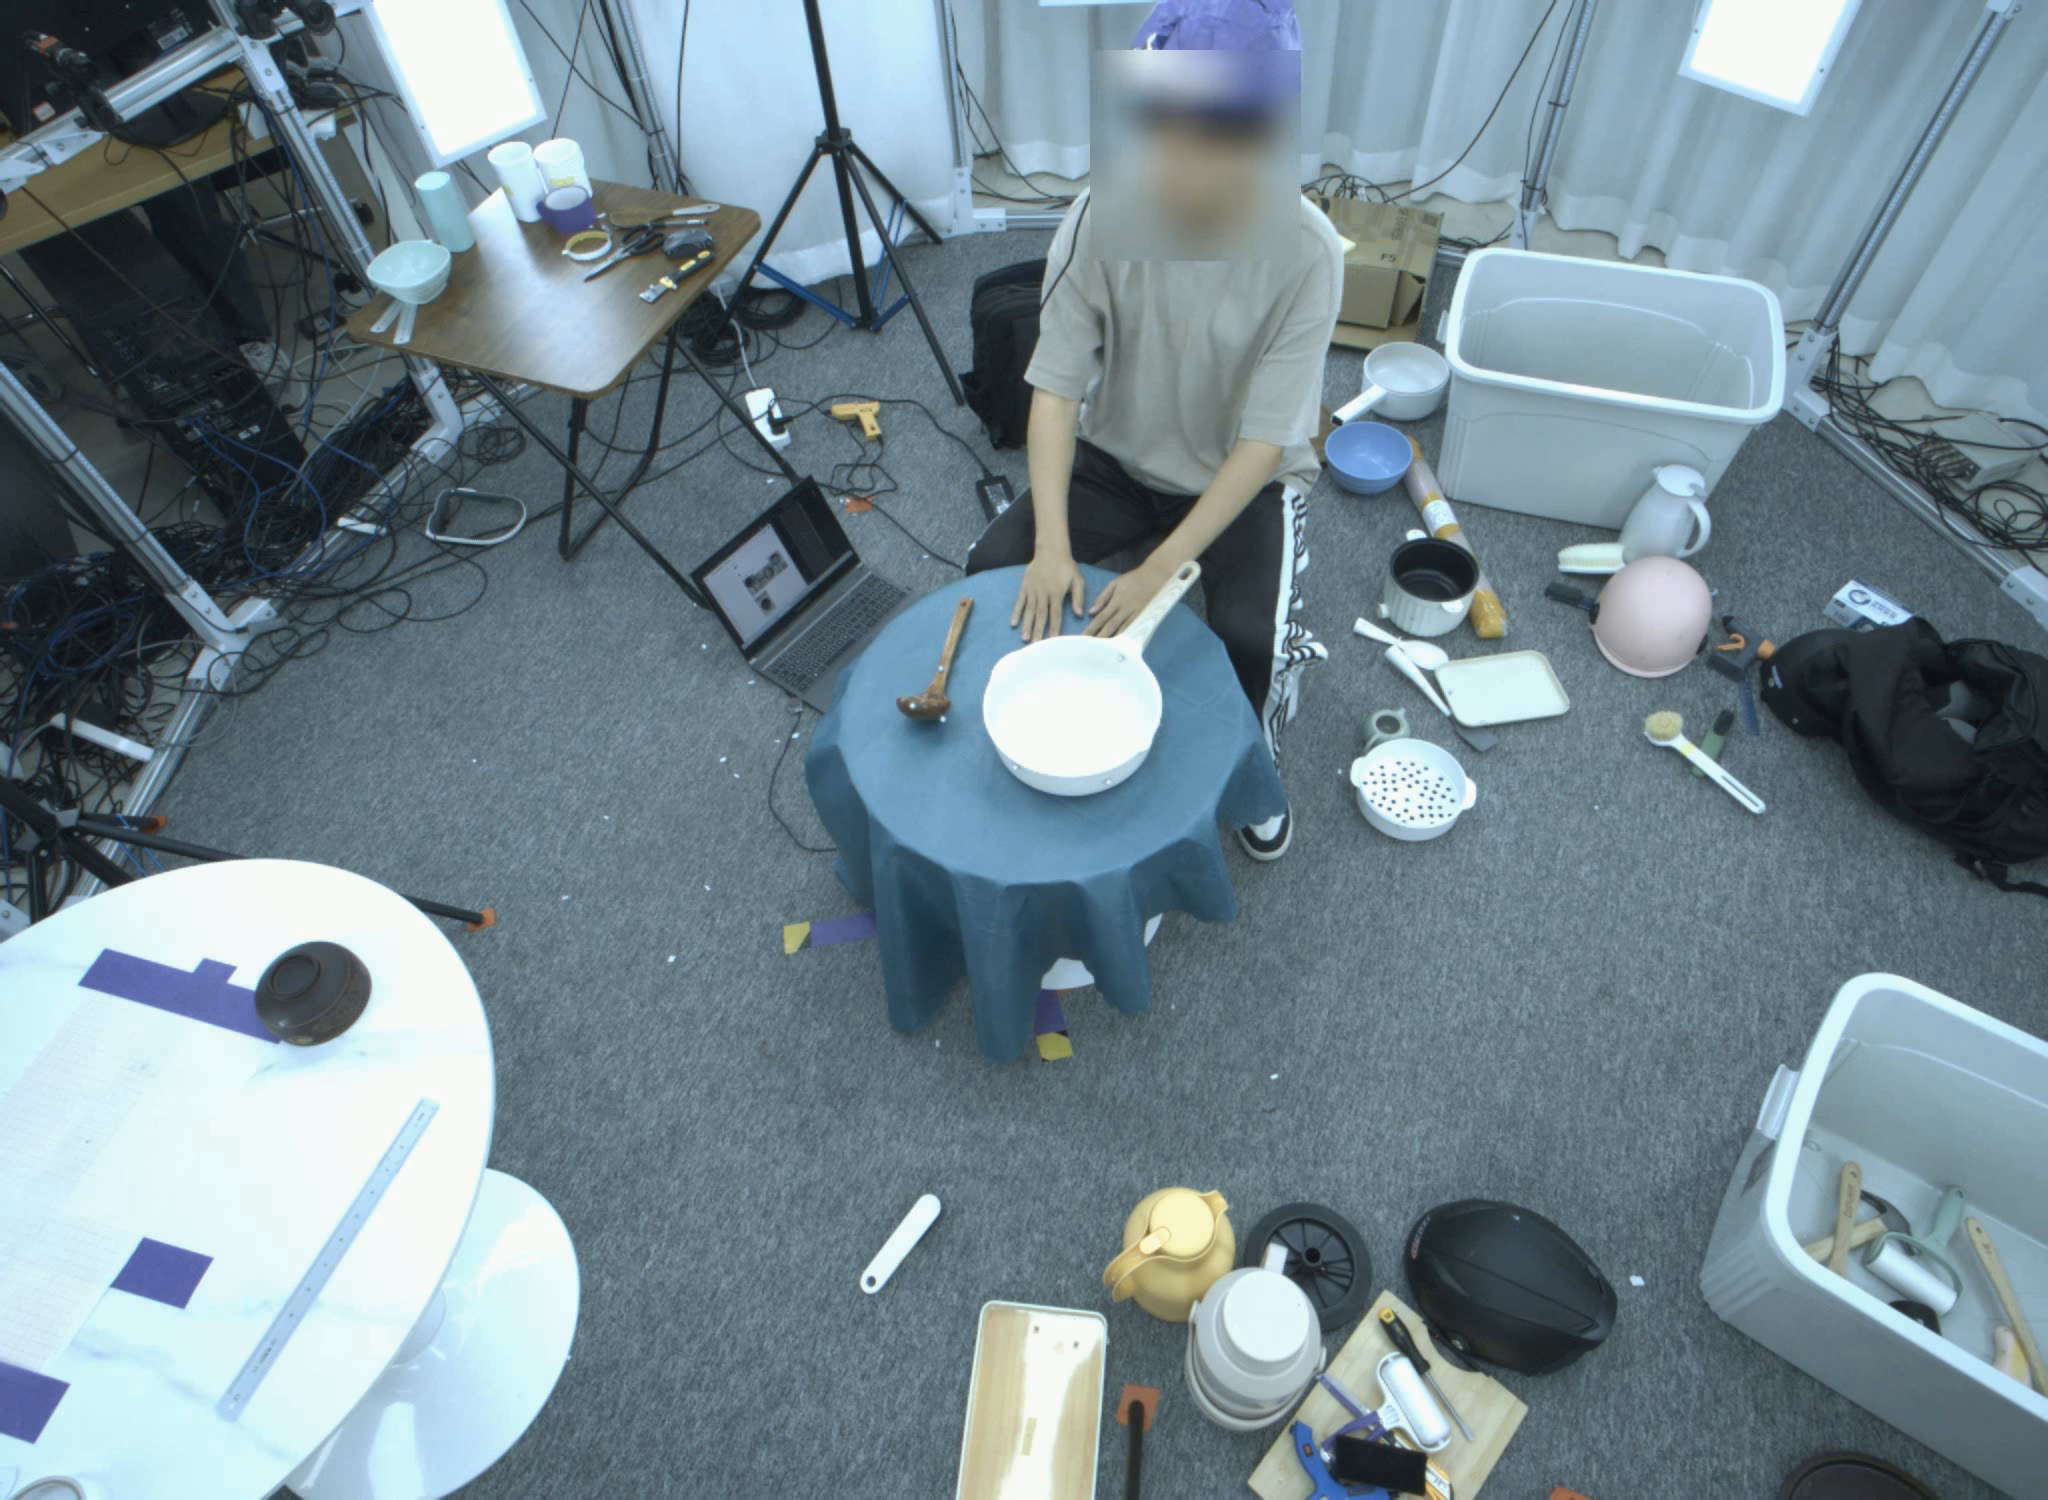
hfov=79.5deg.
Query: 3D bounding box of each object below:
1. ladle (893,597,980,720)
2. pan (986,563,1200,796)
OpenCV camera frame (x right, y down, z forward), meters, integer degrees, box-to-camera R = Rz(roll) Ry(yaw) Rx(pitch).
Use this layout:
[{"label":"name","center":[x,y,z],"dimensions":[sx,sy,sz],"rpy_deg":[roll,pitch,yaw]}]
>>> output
[{"label":"ladle","center":[-0.124,-0.151,1.849],"dimensions":[0.081,0.077,0.273],"rpy_deg":[10,56,12]},{"label":"pan","center":[0.130,-0.107,1.794],"dimensions":[0.259,0.103,0.437],"rpy_deg":[30,61,23]}]
